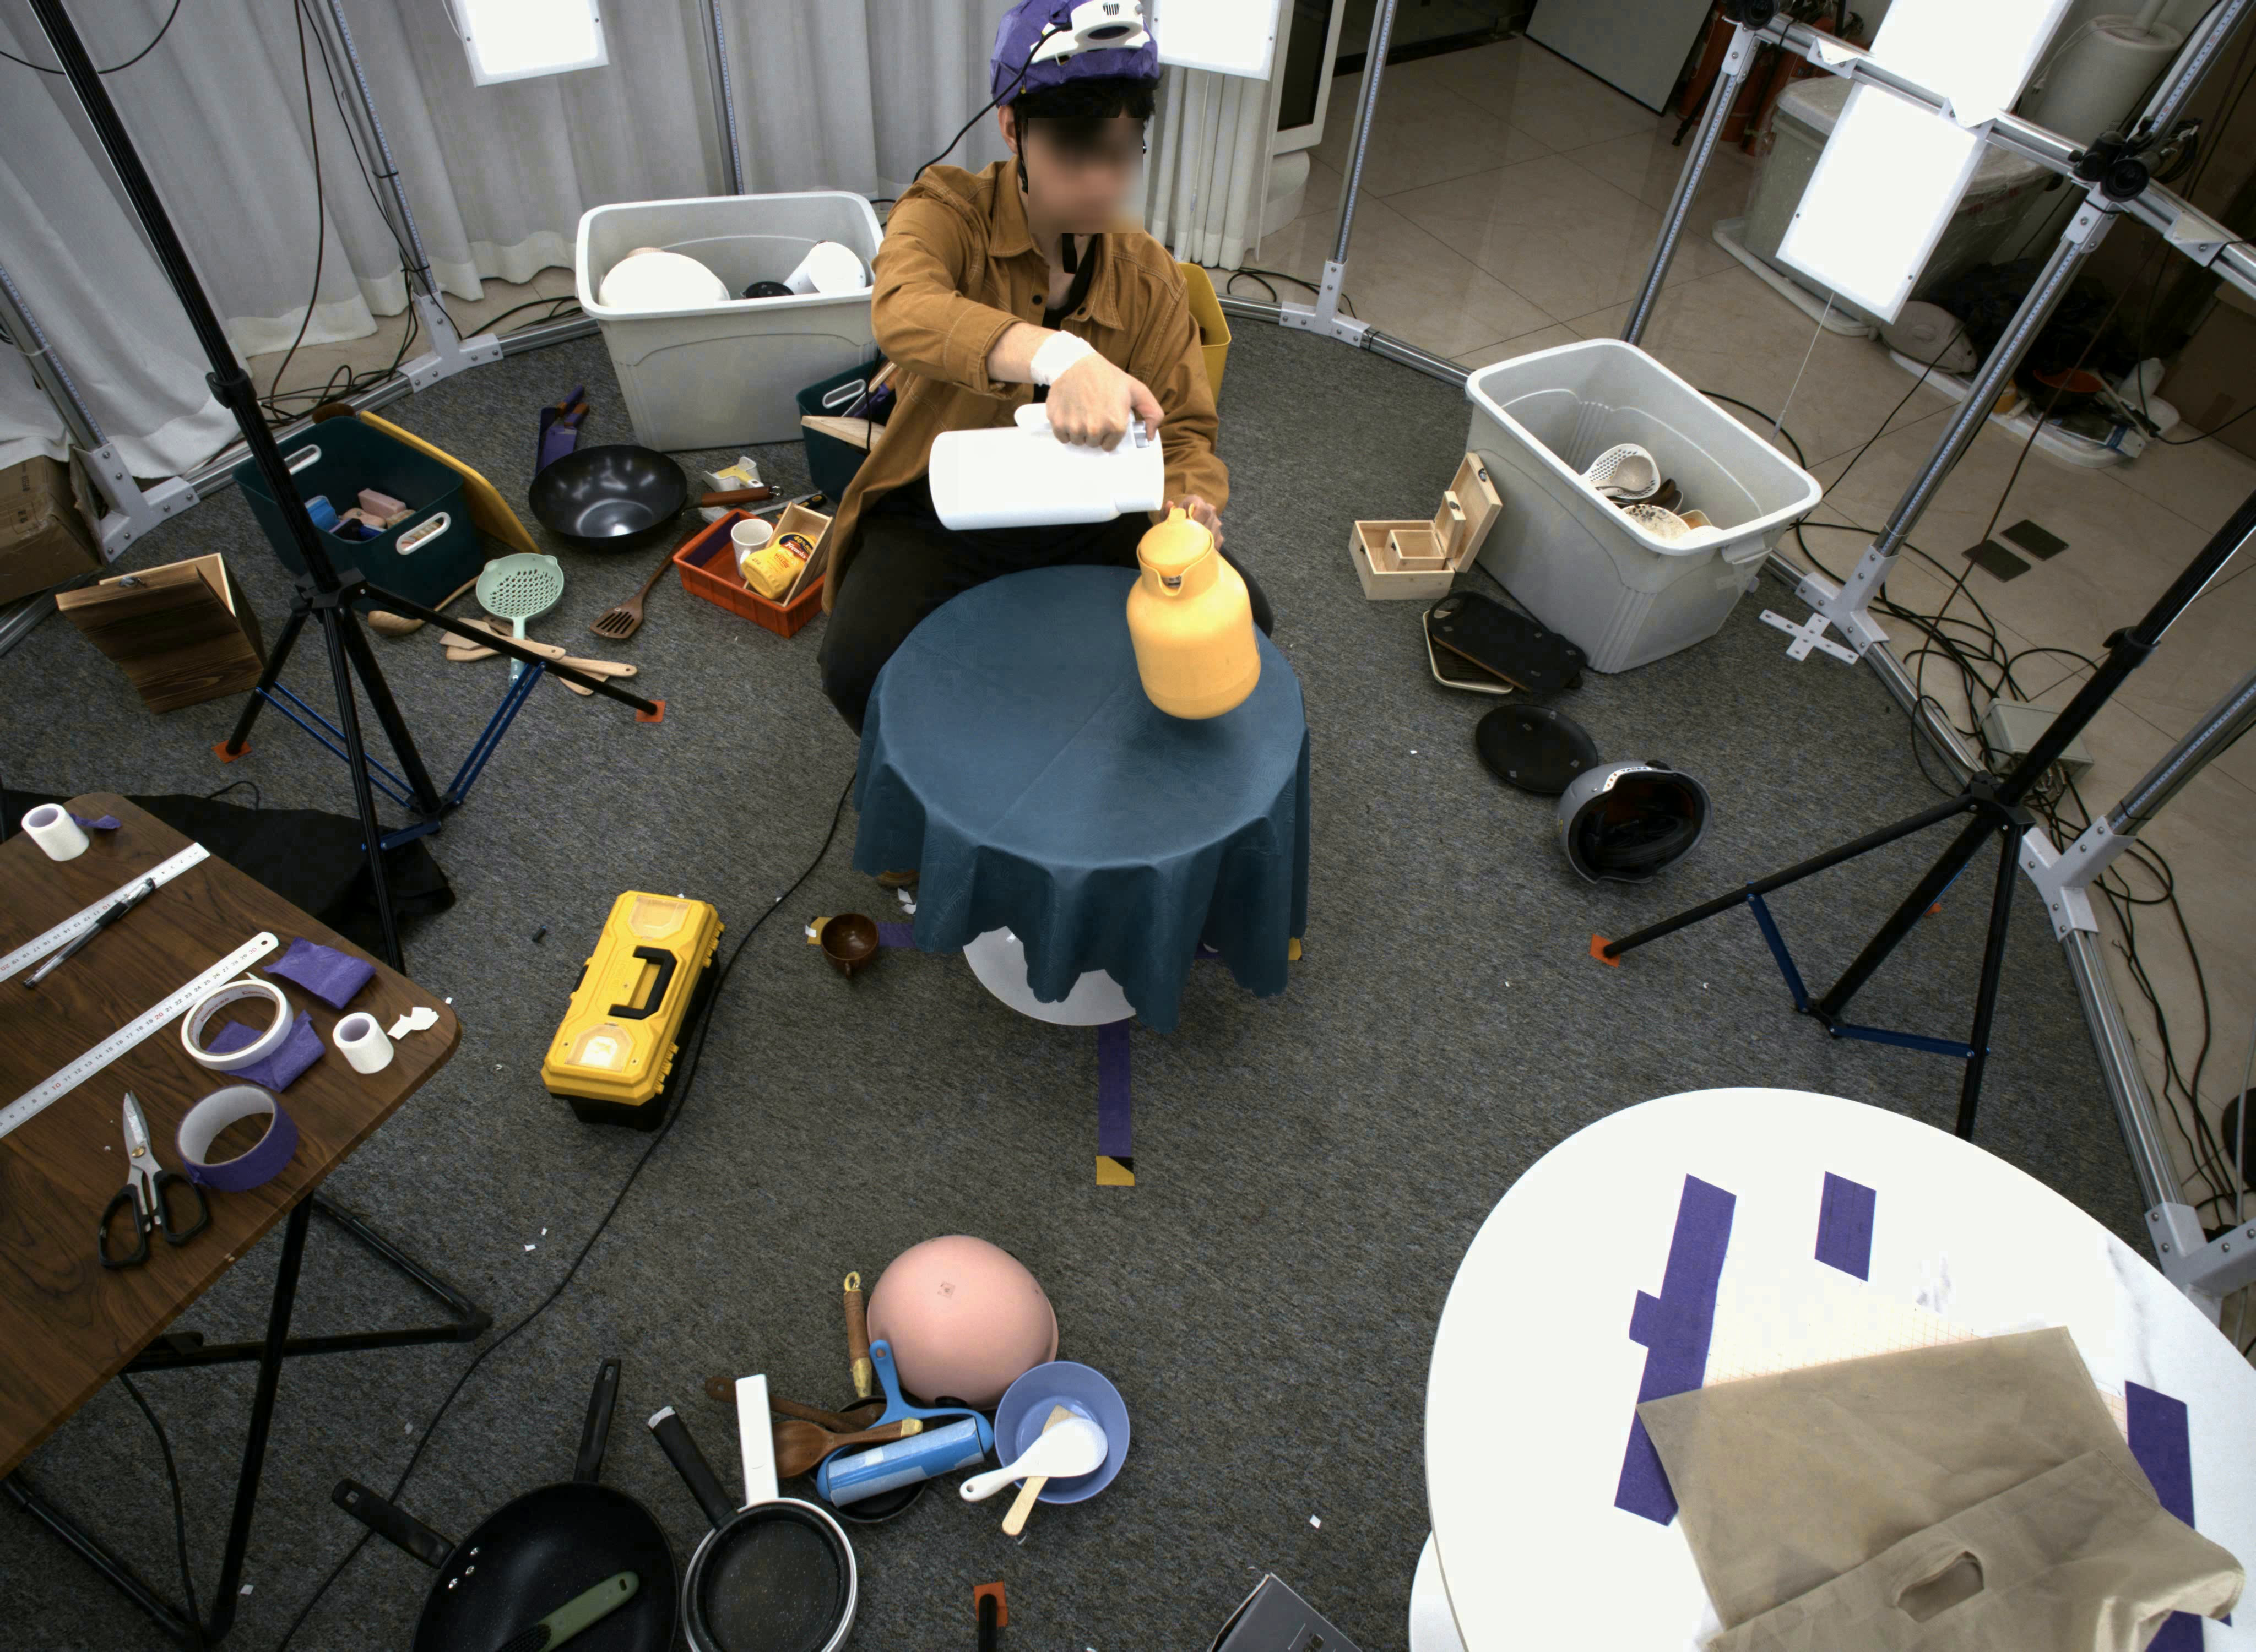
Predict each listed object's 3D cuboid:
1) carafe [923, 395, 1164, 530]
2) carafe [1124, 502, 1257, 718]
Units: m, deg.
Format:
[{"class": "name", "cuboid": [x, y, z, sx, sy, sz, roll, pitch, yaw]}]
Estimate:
[{"class": "carafe", "cuboid": [-0.101, -0.422, 1.508, 0.269, 0.169, 0.126, 1, 65, 14]}, {"class": "carafe", "cuboid": [0.081, -0.288, 1.678, 0.164, 0.254, 0.207, 1, 51, 13]}]
